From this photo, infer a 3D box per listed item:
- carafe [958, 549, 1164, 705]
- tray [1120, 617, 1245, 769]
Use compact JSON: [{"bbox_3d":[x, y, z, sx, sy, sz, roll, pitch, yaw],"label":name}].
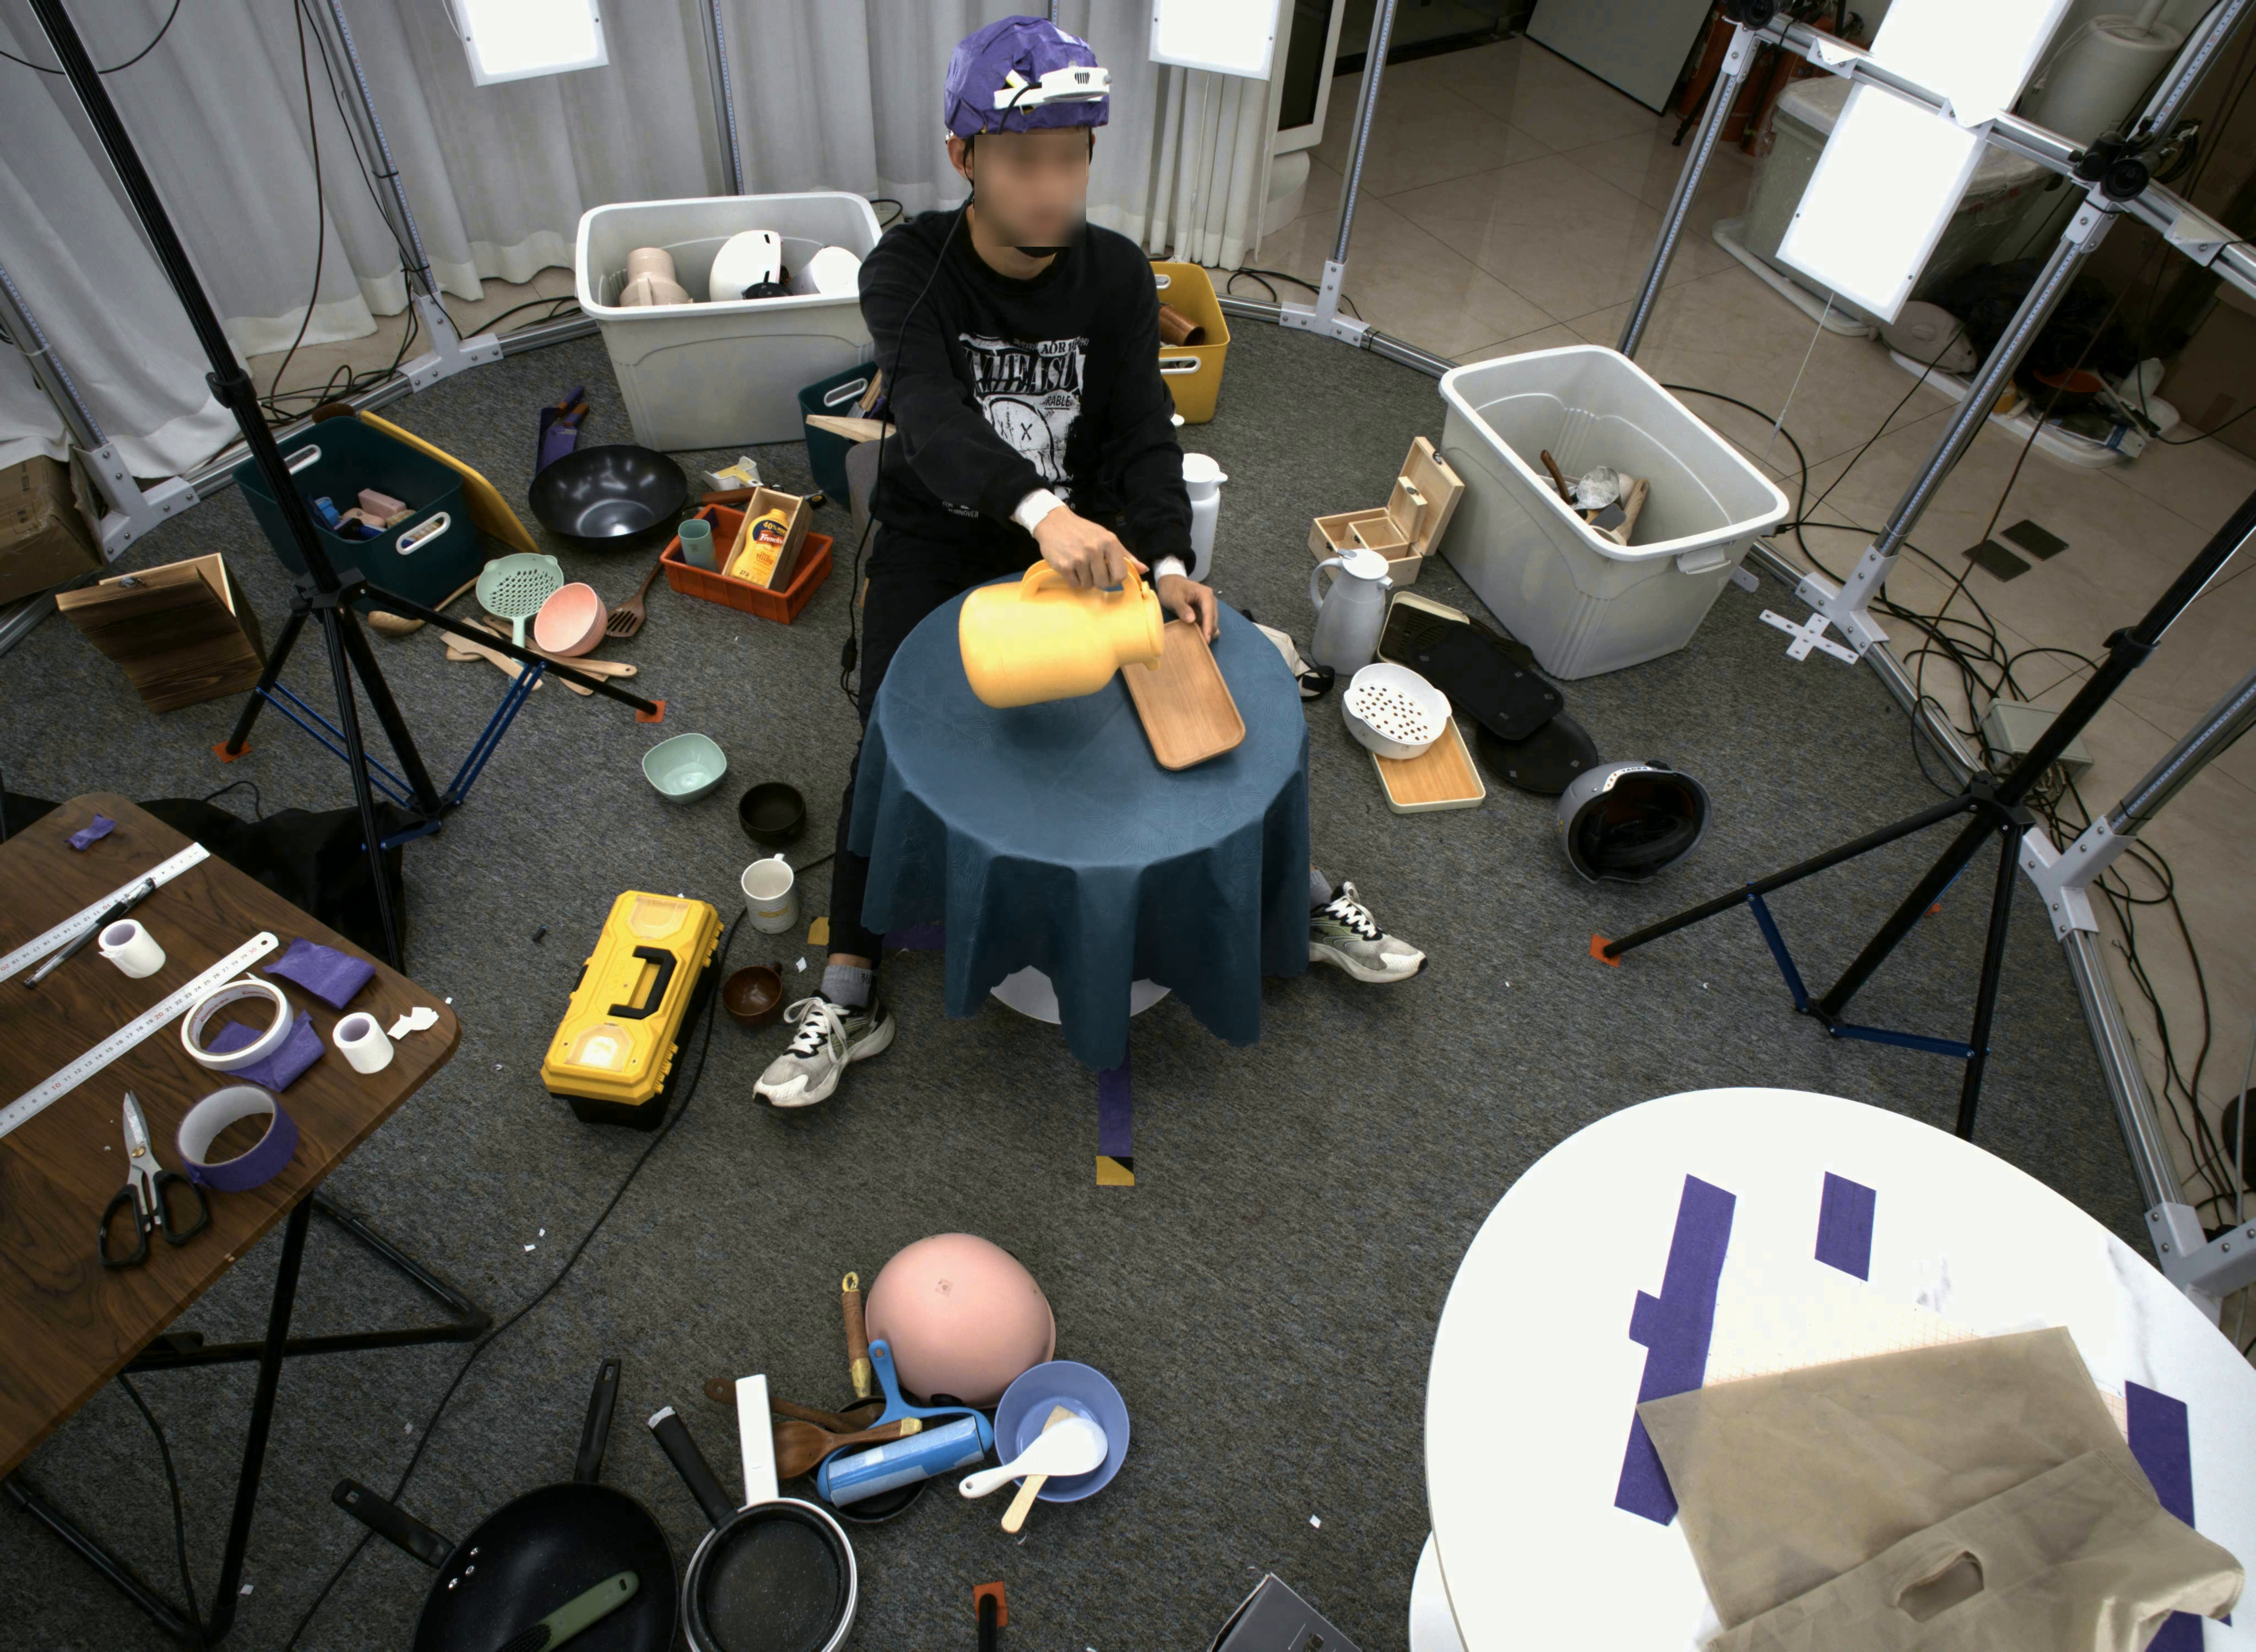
[{"bbox_3d":[-0.087,-0.265,1.676,0.260,0.197,0.167,-7,43,7],"label":"carafe"},{"bbox_3d":[0.072,-0.189,1.800,0.130,0.022,0.257,-18,53,0],"label":"tray"}]
